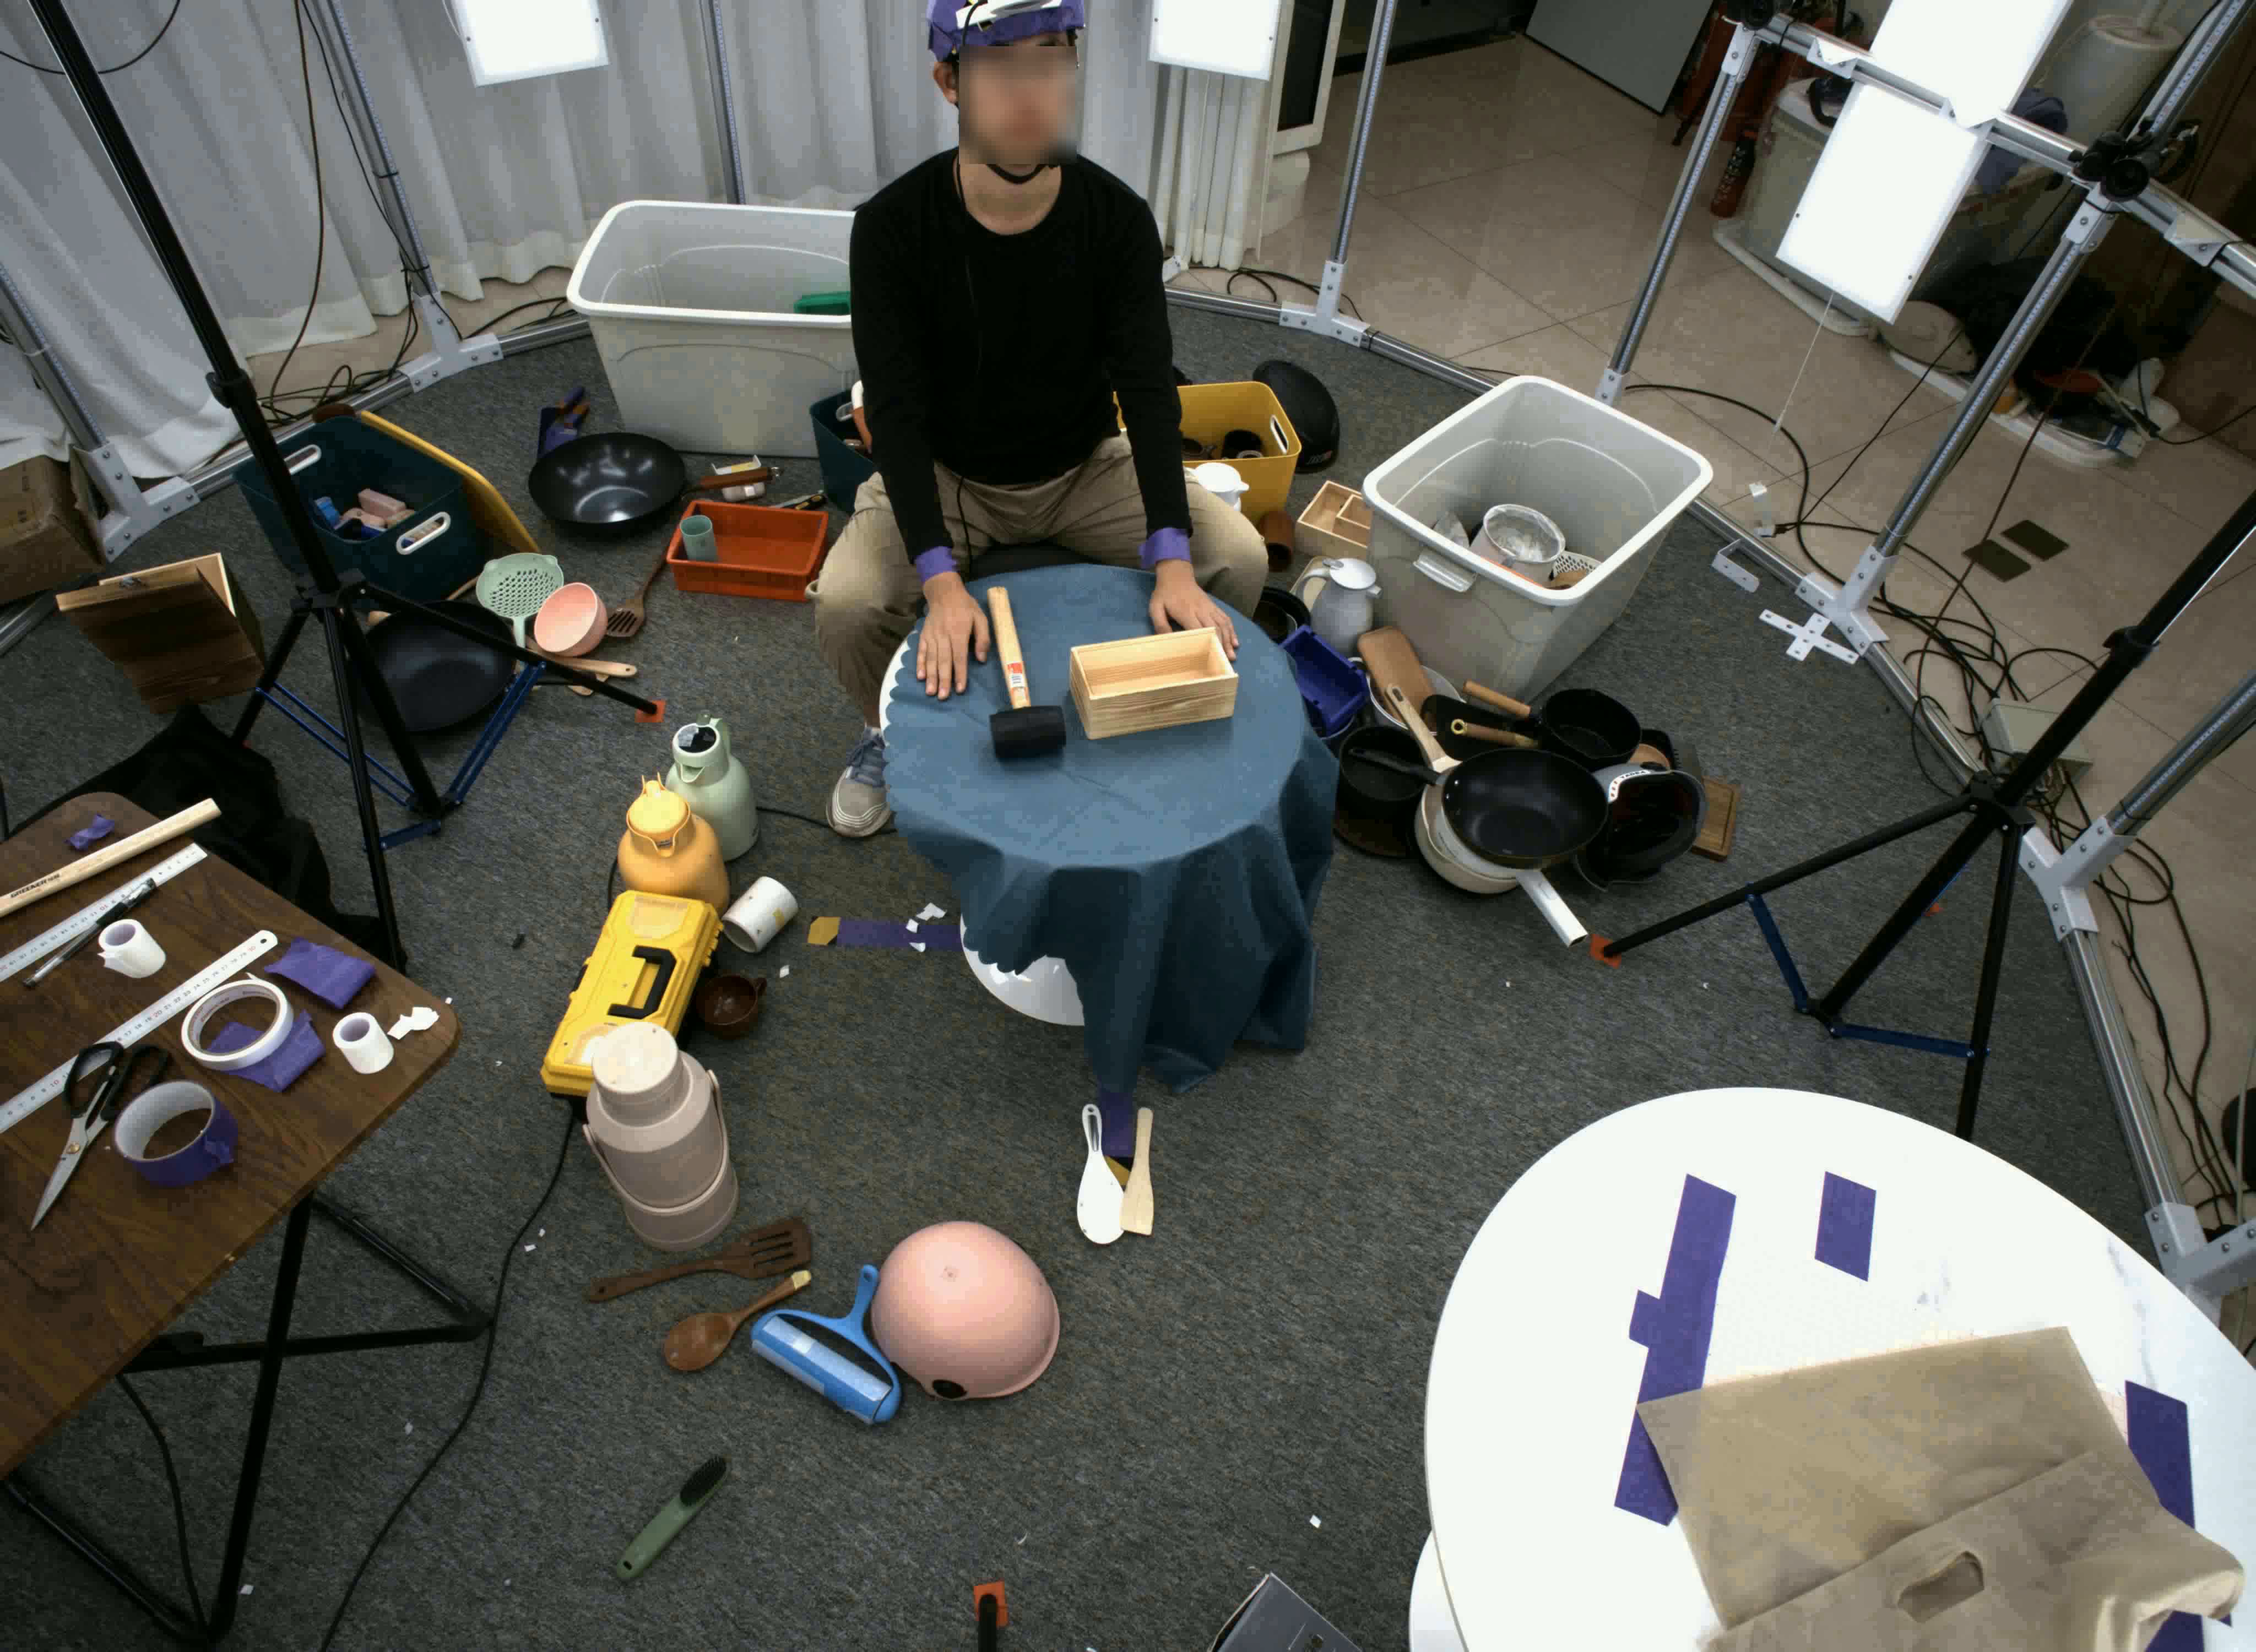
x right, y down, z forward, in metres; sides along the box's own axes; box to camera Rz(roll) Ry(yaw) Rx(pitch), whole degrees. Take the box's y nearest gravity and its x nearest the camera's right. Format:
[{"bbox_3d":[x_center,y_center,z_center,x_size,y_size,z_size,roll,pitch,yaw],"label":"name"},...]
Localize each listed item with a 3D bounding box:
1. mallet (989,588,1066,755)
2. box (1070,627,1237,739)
[{"bbox_3d":[-0.161,-0.233,1.823,0.102,0.063,0.347,-5,49,-9],"label":"mallet"},{"bbox_3d":[0.034,-0.201,1.794,0.211,0.078,0.110,-10,50,-12],"label":"box"}]
